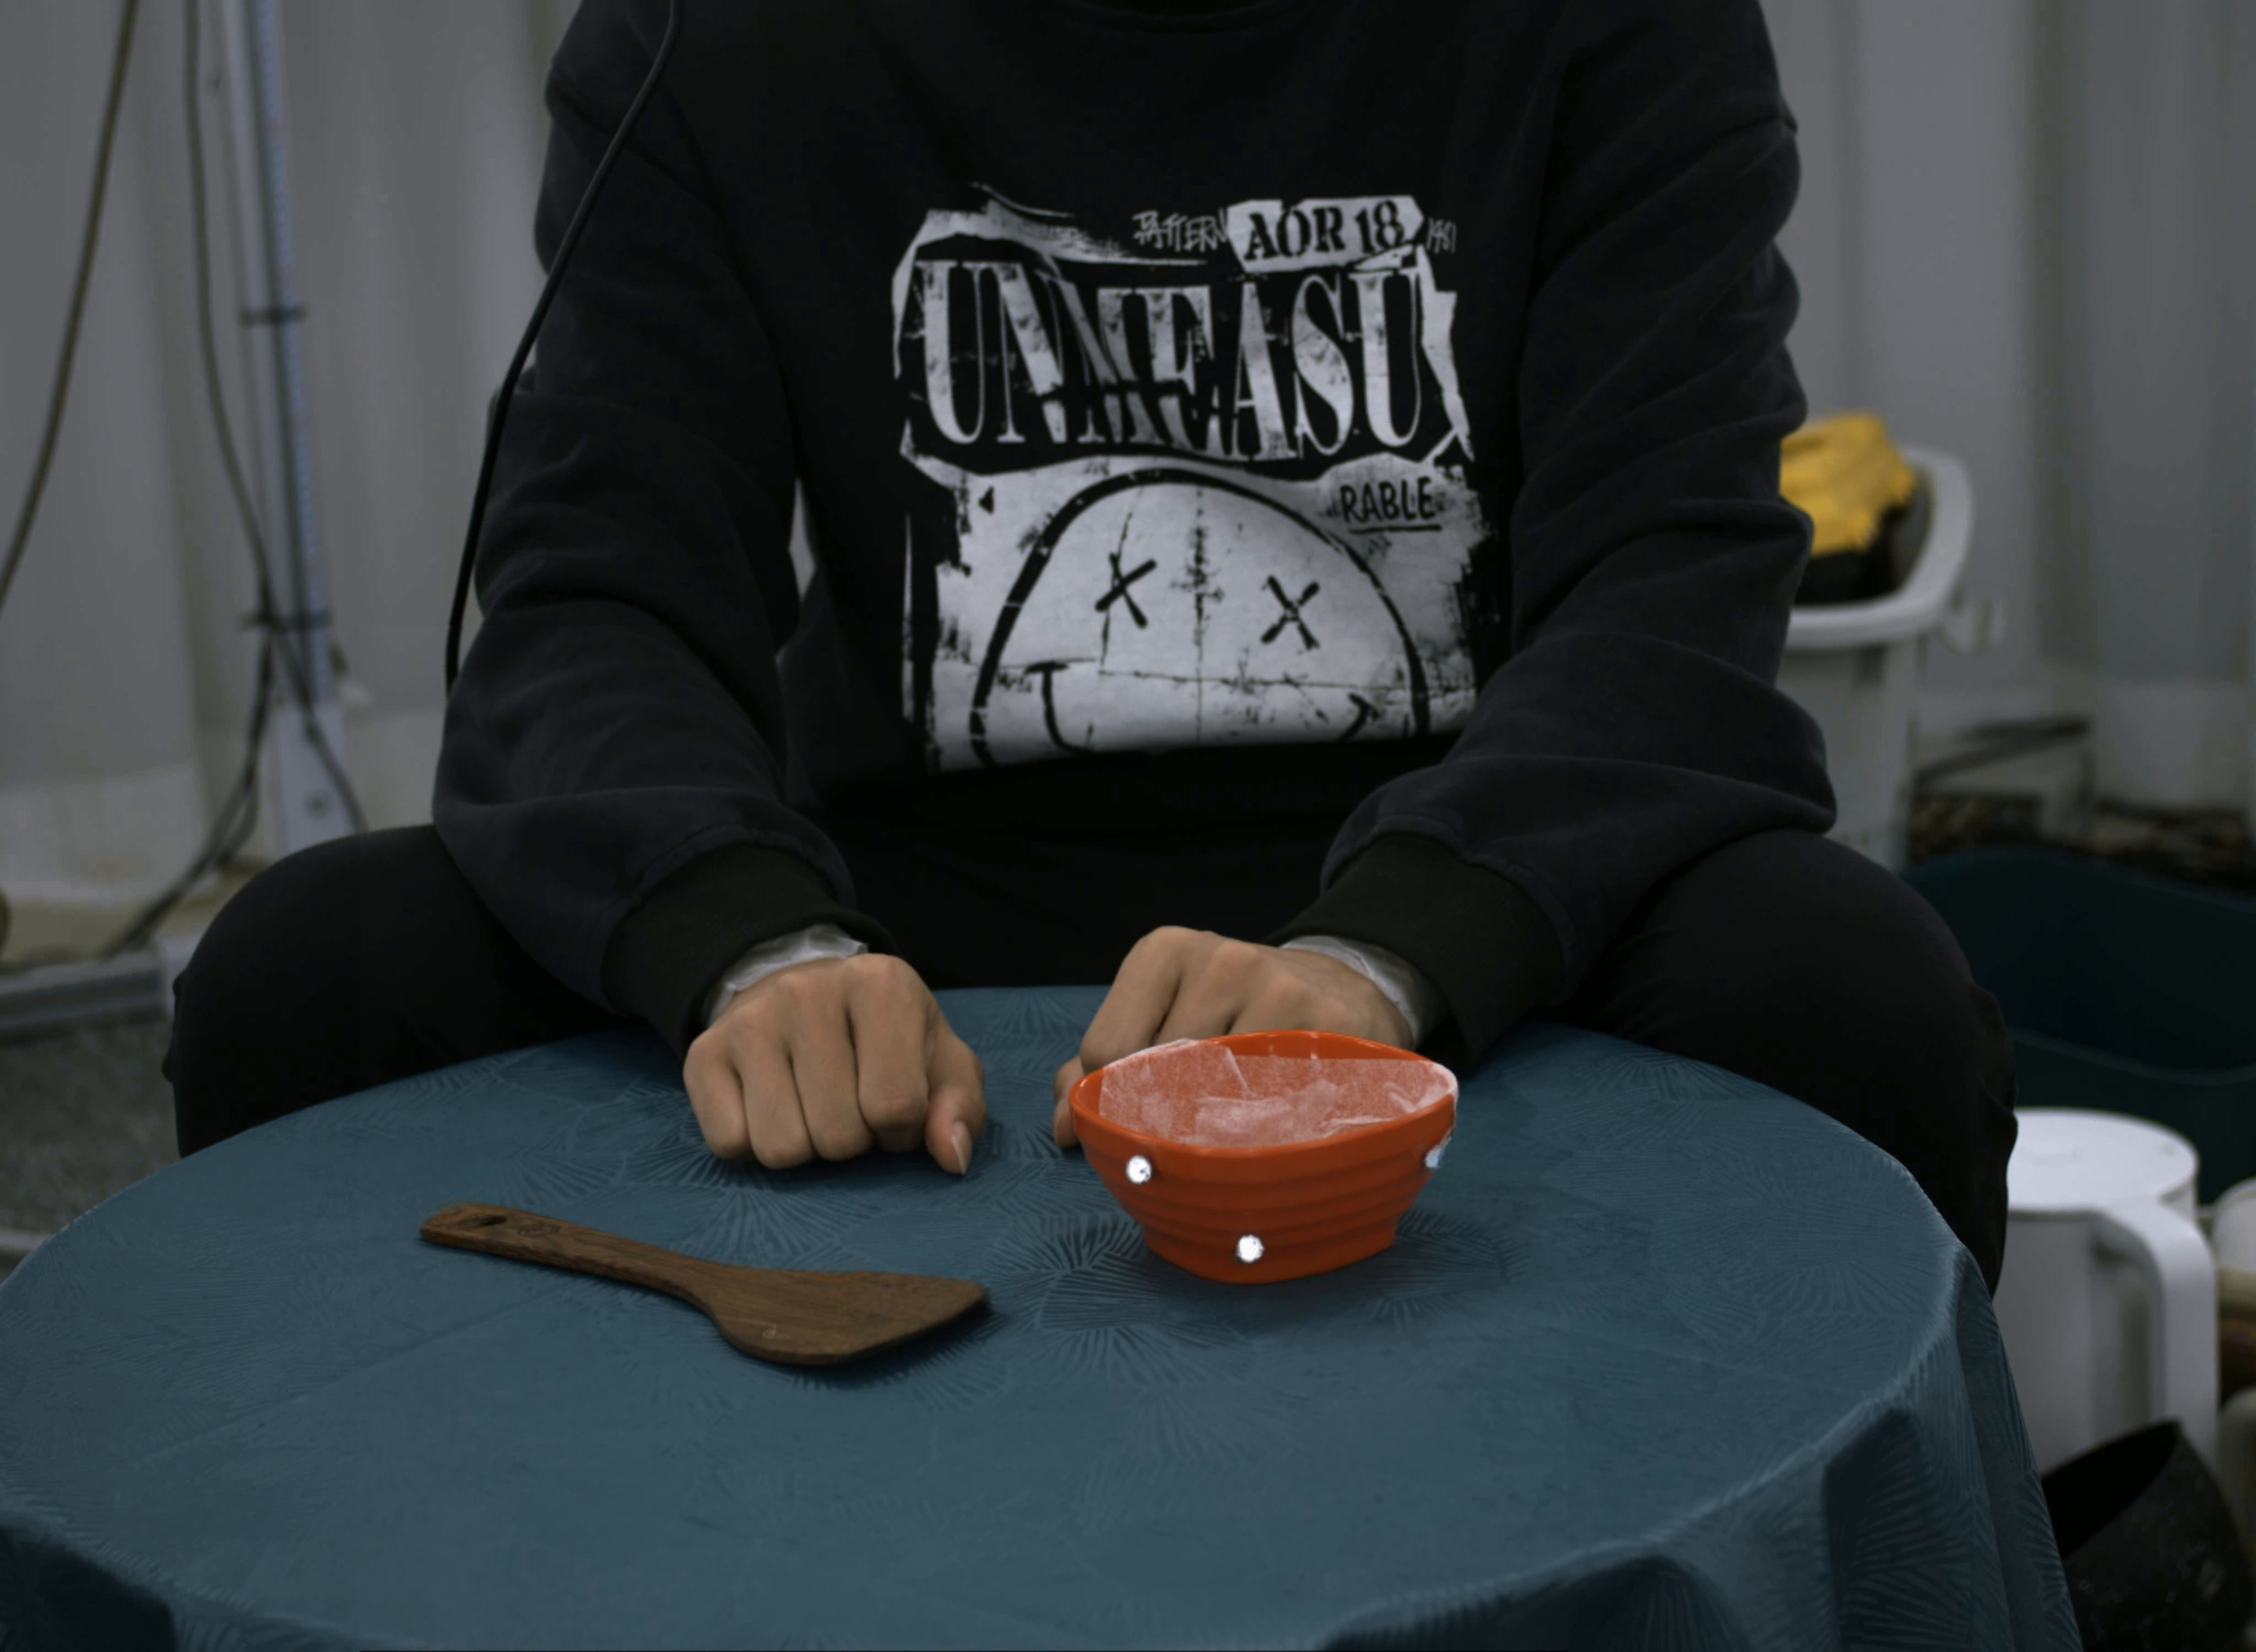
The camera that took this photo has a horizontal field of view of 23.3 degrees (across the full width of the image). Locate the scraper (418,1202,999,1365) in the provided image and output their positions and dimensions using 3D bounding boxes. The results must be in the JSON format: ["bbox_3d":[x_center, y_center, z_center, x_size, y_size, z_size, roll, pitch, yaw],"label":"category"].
[{"bbox_3d":[-0.135,0.135,1.647,0.212,0.011,0.076,9,18,39],"label":"scraper"}]

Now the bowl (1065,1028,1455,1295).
[{"bbox_3d":[0.041,0.104,1.658,0.118,0.051,0.120,-4,17,1],"label":"bowl"}]
